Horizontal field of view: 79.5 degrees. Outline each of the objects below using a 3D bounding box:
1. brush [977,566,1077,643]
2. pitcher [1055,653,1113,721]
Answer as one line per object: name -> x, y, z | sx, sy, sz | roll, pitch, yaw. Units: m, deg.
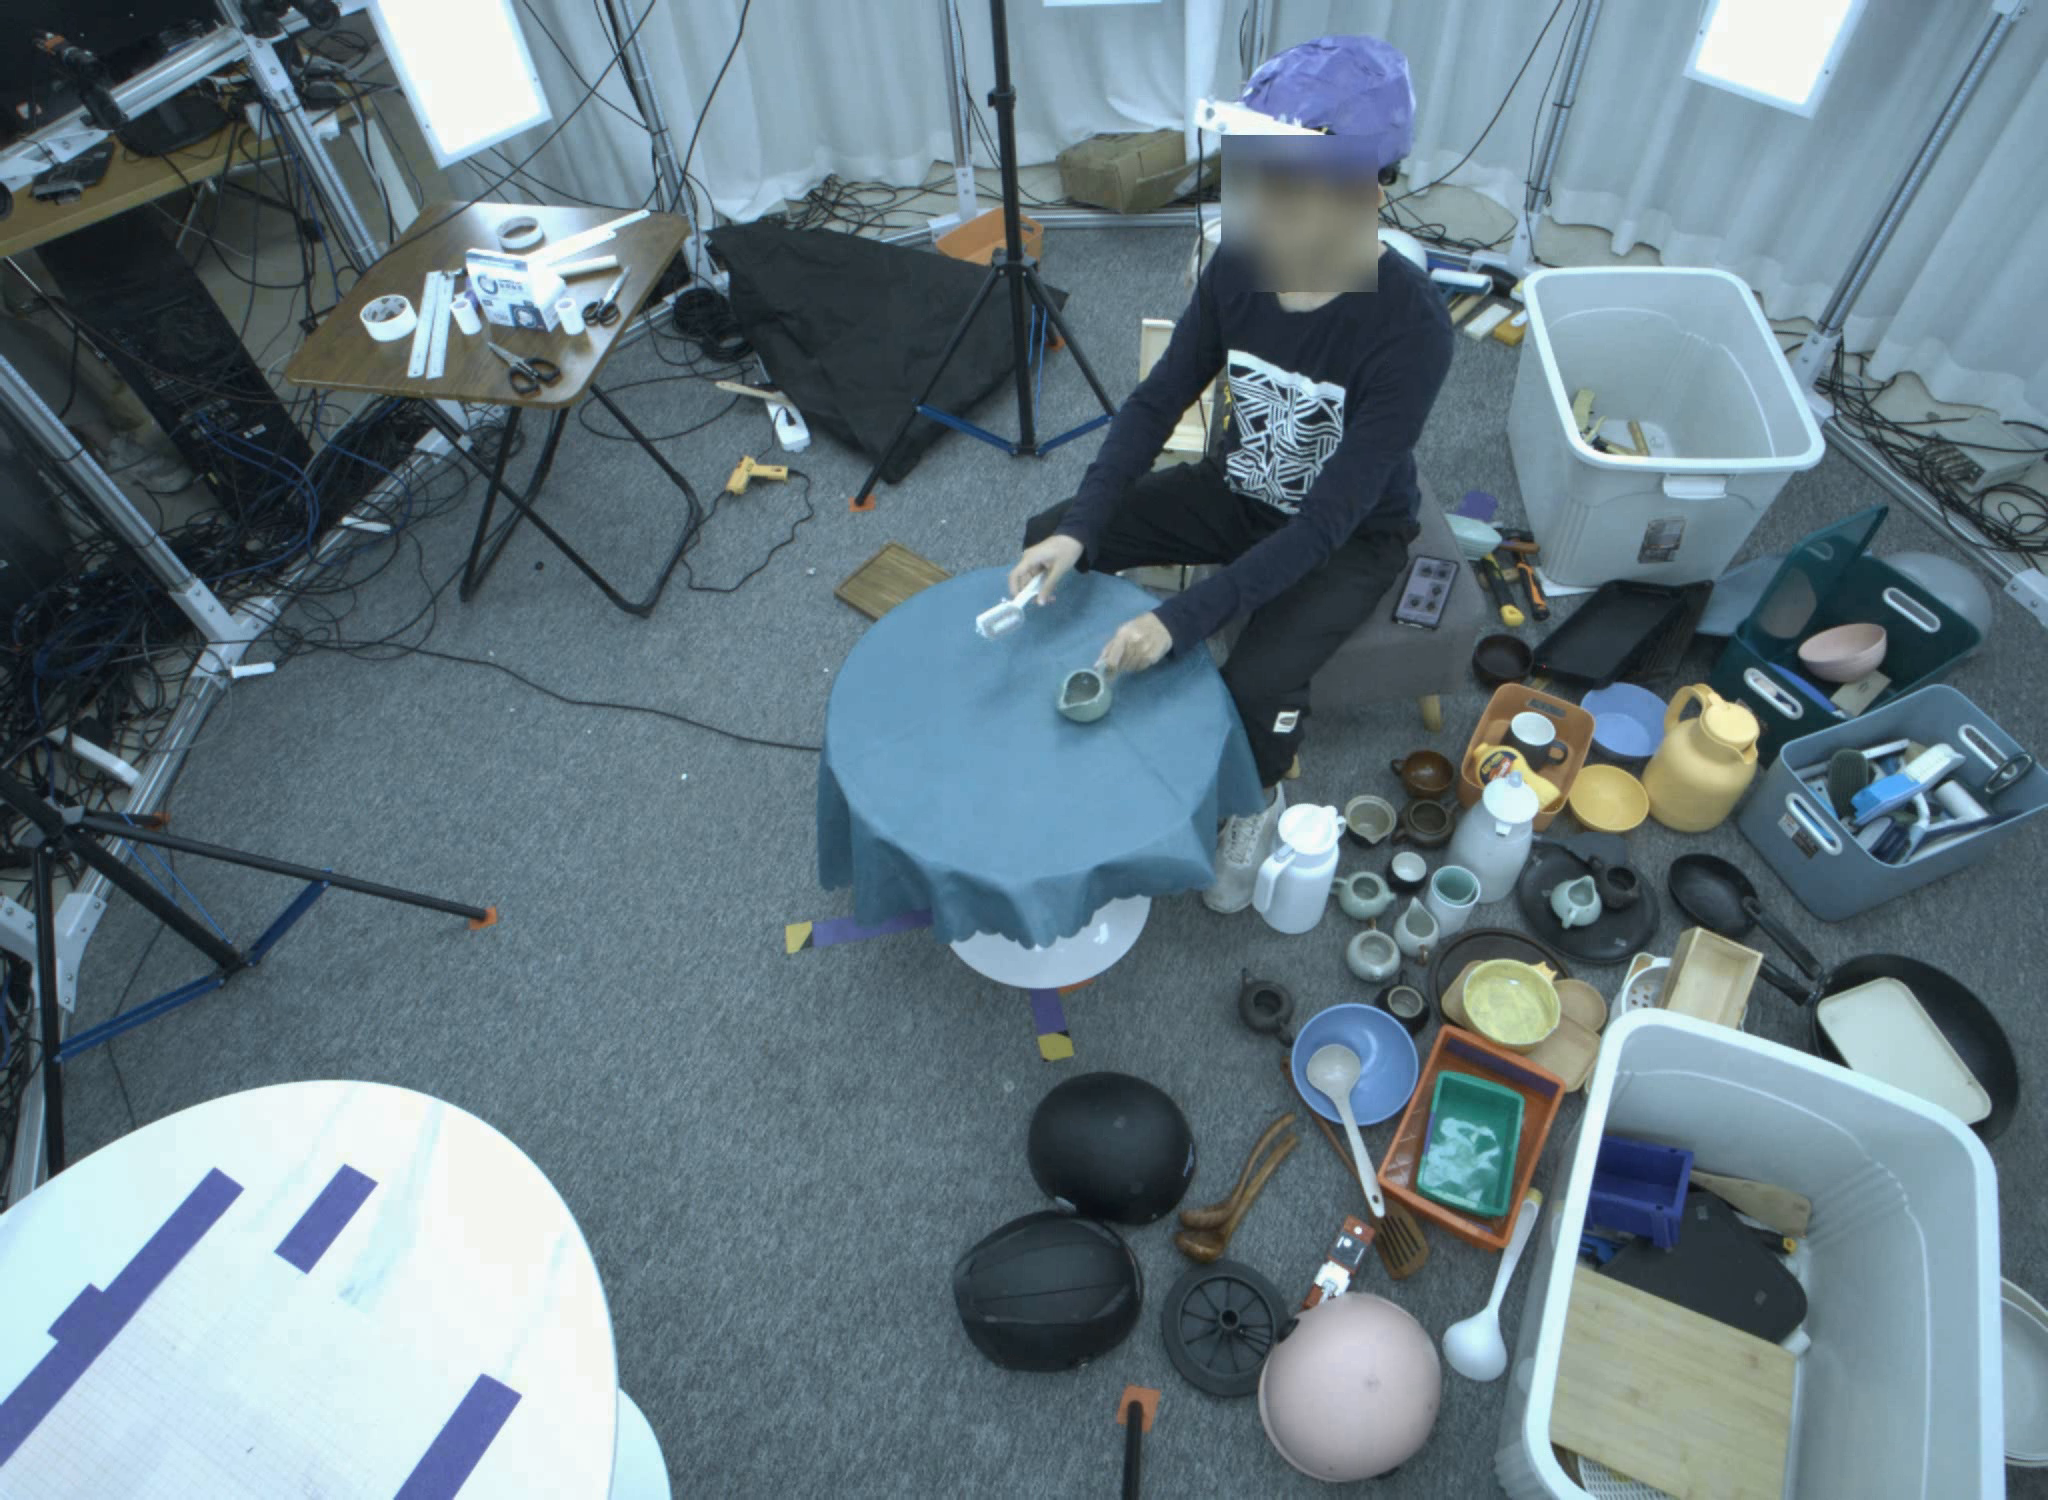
brush -> 0.018, -0.225, 1.851 | 0.049, 0.035, 0.246 | 0, 28, 45
pitcher -> 0.092, -0.091, 1.799 | 0.083, 0.056, 0.113 | 35, 72, 15
